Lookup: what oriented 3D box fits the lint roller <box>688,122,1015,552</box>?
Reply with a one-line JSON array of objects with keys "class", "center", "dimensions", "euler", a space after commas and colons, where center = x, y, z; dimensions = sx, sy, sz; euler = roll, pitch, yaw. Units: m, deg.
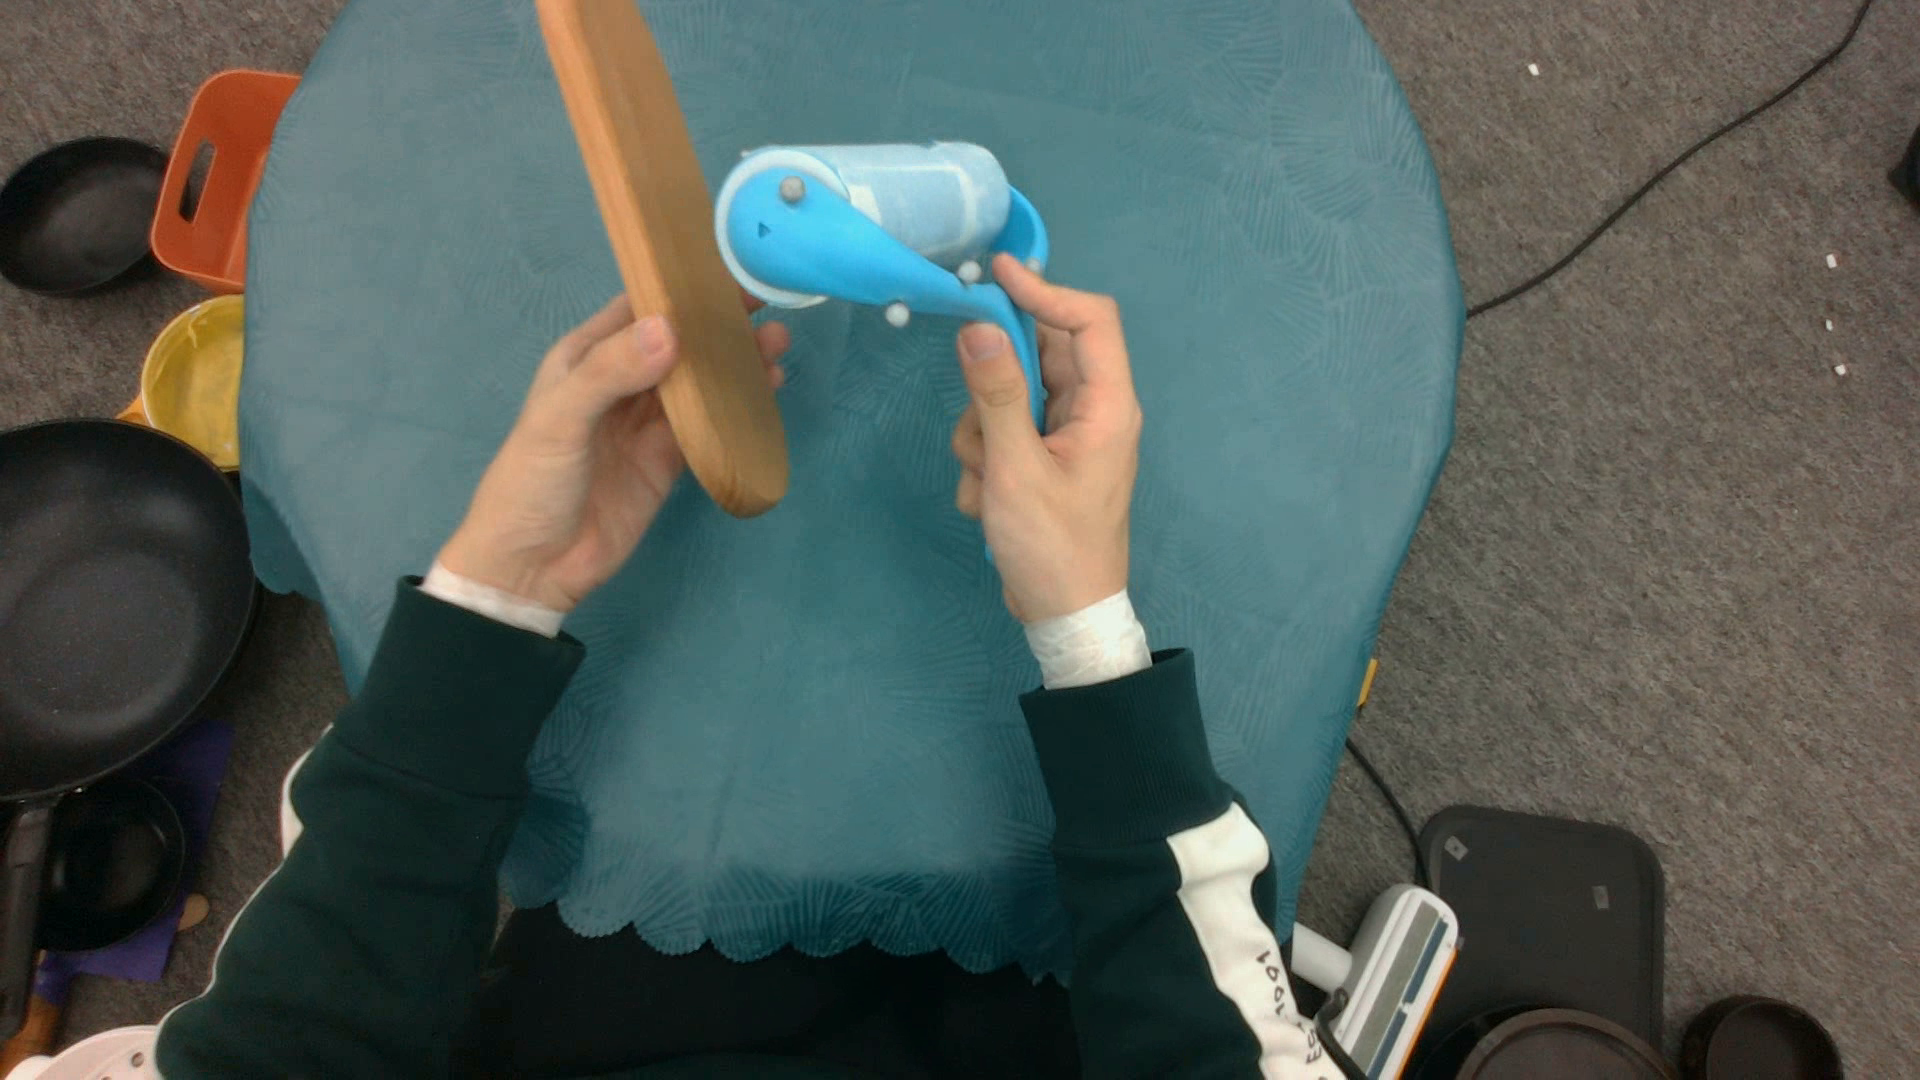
[{"class": "lint roller", "center": [-0.012, -0.086, 0.560], "dimensions": [0.068, 0.230, 0.180], "euler": [-27, 101, 20]}]

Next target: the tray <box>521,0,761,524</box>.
[{"class": "tray", "center": [-0.123, -0.118, 0.549], "dimensions": [0.020, 0.102, 0.231], "euler": [-18, 92, 7]}]
